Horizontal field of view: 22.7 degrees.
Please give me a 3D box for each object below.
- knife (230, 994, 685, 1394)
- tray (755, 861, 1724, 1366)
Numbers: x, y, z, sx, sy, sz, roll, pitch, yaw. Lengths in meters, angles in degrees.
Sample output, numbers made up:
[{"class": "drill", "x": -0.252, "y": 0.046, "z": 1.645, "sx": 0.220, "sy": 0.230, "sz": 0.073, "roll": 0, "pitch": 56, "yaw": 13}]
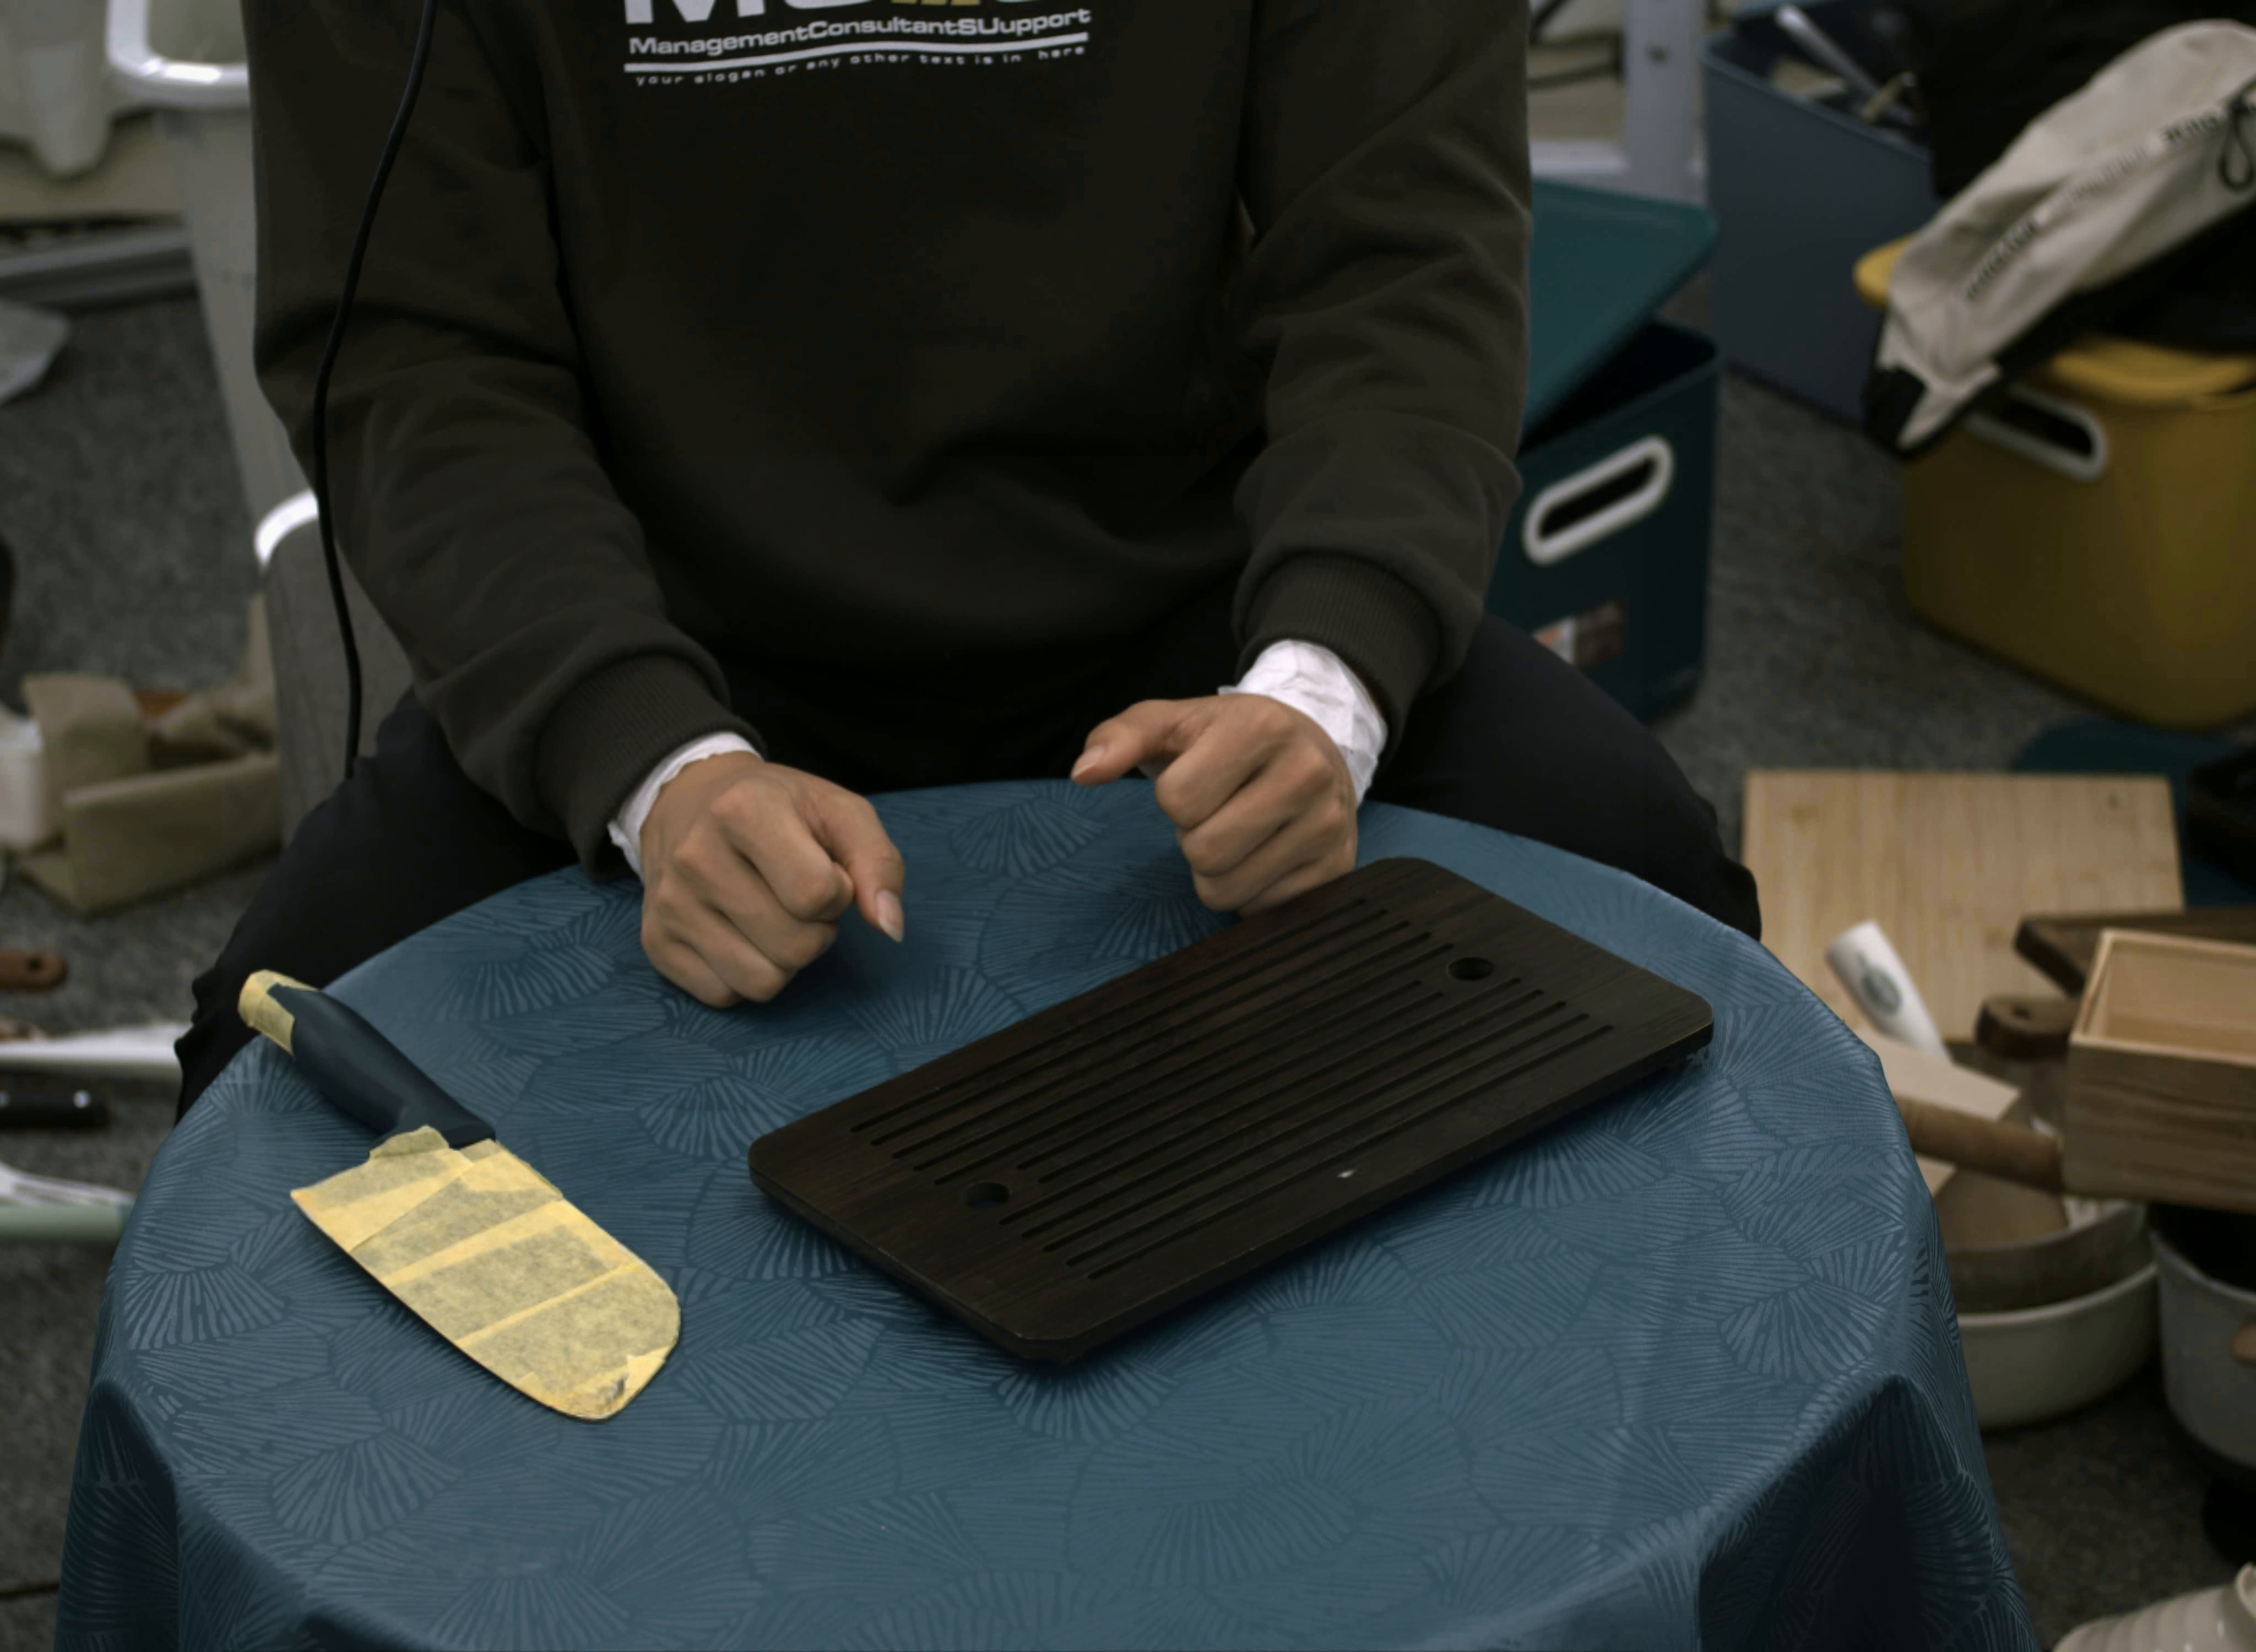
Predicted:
[{"class": "knife", "x": -0.235, "y": 0.123, "z": 1.864, "sx": 0.081, "sy": 0.027, "sz": 0.290, "roll": -17, "pitch": 31, "yaw": -30}, {"class": "tray", "x": 0.040, "y": 0.094, "z": 1.892, "sx": 0.309, "sy": 0.018, "sz": 0.170, "roll": -23, "pitch": 33, "yaw": -34}]
